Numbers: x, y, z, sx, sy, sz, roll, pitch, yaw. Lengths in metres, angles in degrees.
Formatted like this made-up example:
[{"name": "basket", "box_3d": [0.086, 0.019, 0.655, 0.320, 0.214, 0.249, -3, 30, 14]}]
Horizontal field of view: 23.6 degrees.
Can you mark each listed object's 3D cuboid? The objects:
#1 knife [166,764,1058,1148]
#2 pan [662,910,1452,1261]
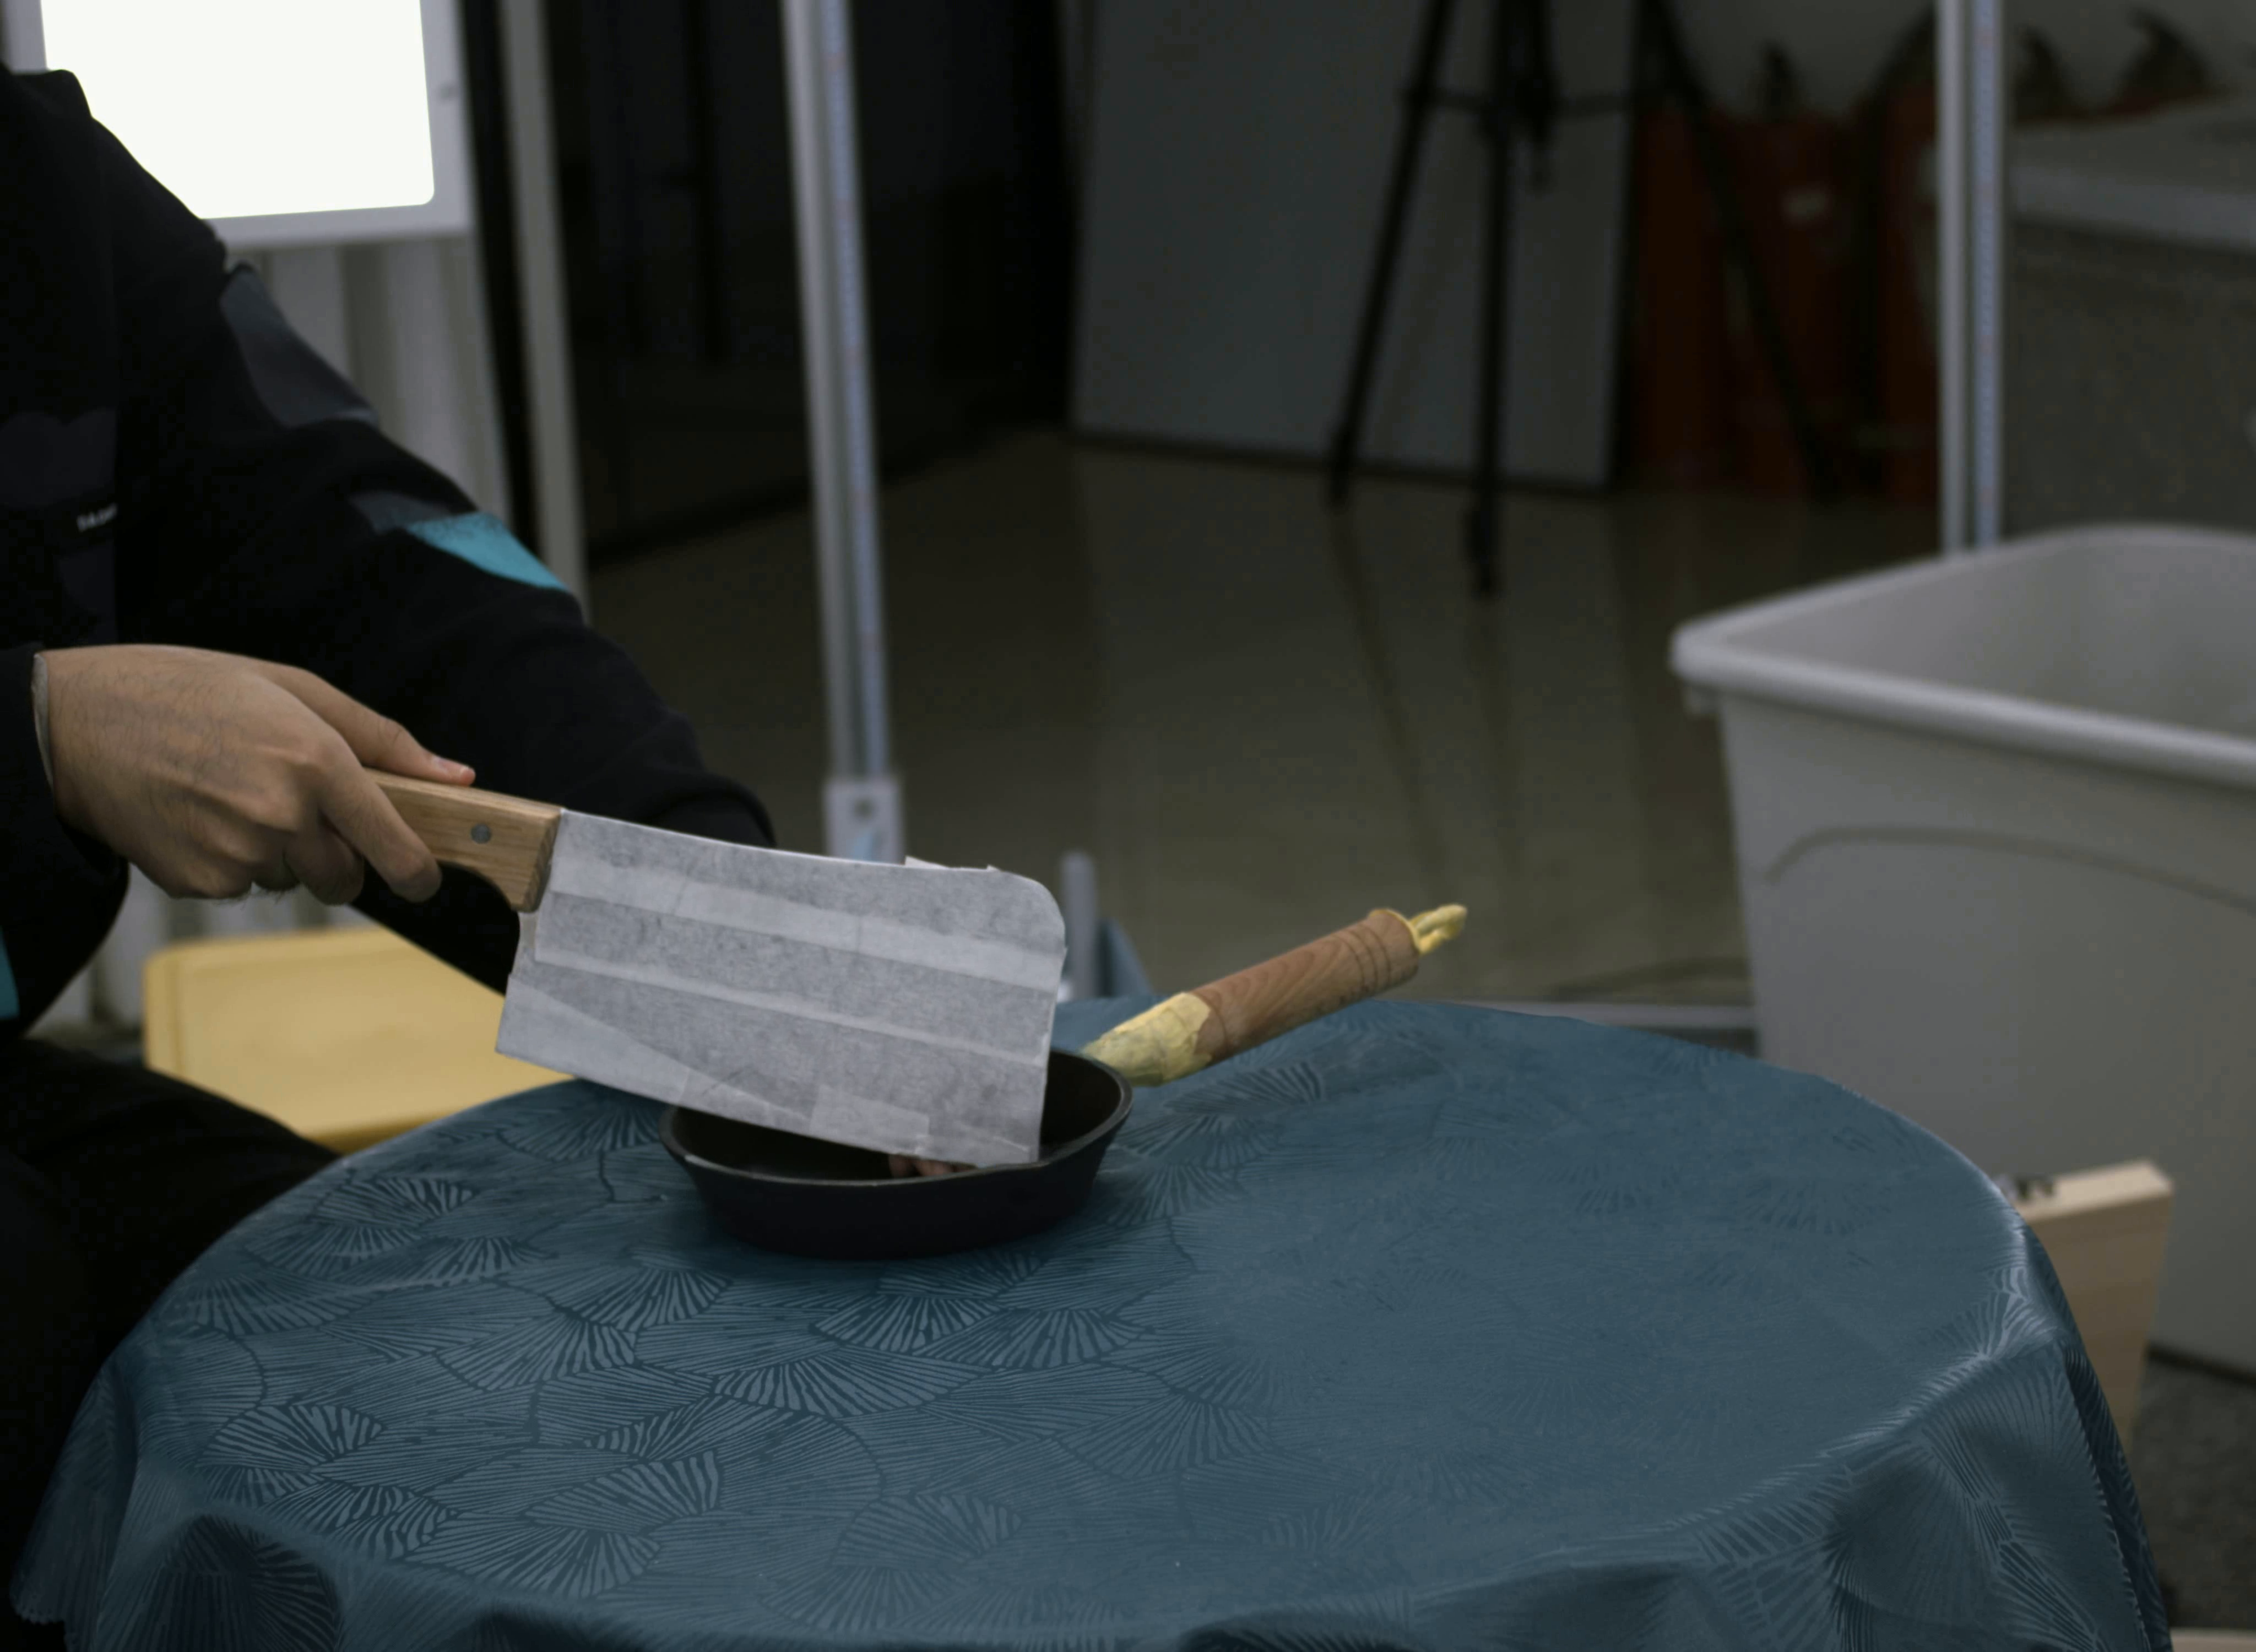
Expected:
[{"name": "knife", "box_3d": [-0.168, 0.032, 1.787, 0.313, 0.115, 0.021, 15, 6, 6]}, {"name": "pan", "box_3d": [-0.009, 0.085, 1.819, 0.317, 0.050, 0.171, -15, 16, -34]}]
